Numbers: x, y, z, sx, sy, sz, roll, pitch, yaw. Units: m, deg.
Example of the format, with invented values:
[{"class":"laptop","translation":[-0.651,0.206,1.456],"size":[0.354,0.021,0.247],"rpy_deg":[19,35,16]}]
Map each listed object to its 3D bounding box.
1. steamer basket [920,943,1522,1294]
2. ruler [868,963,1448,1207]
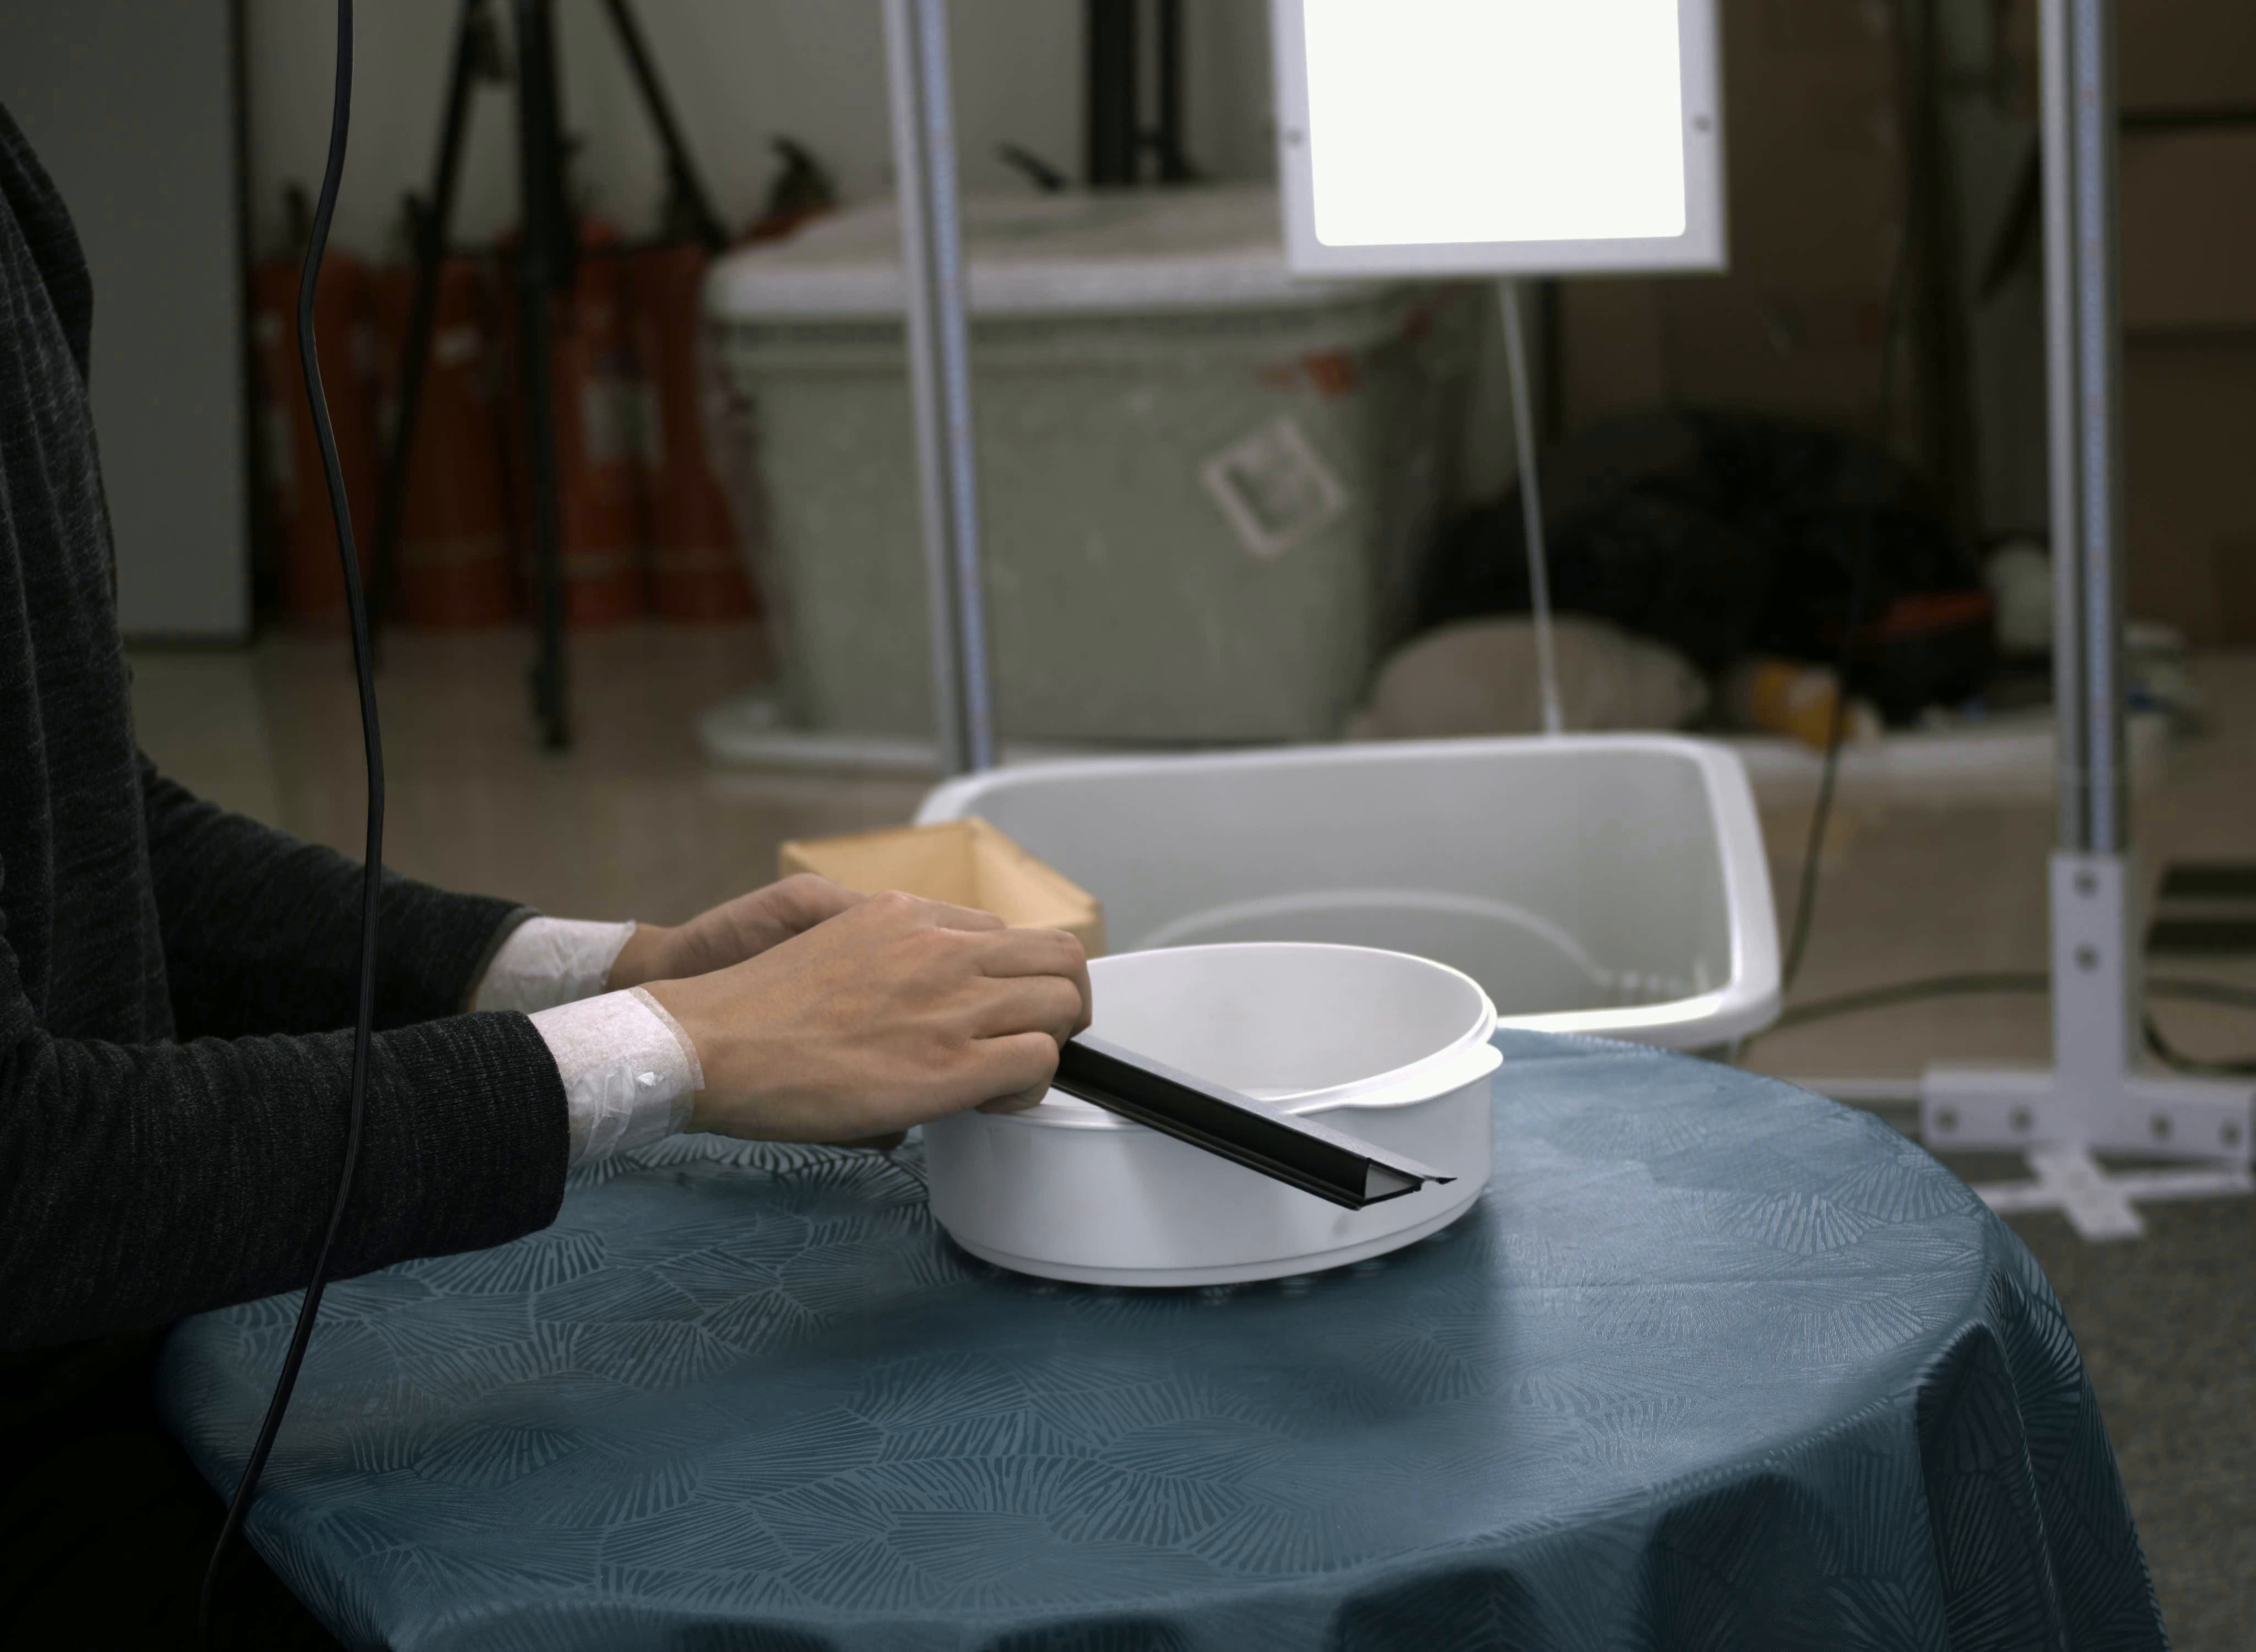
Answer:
[{"class":"steamer basket","translation":[0.031,0.098,1.858],"size":[0.235,0.069,0.197],"rpy_deg":[10,21,42]},{"class":"ruler","translation":[0.004,0.077,1.782],"size":[0.038,0.017,0.318],"rpy_deg":[-13,16,-28]}]
